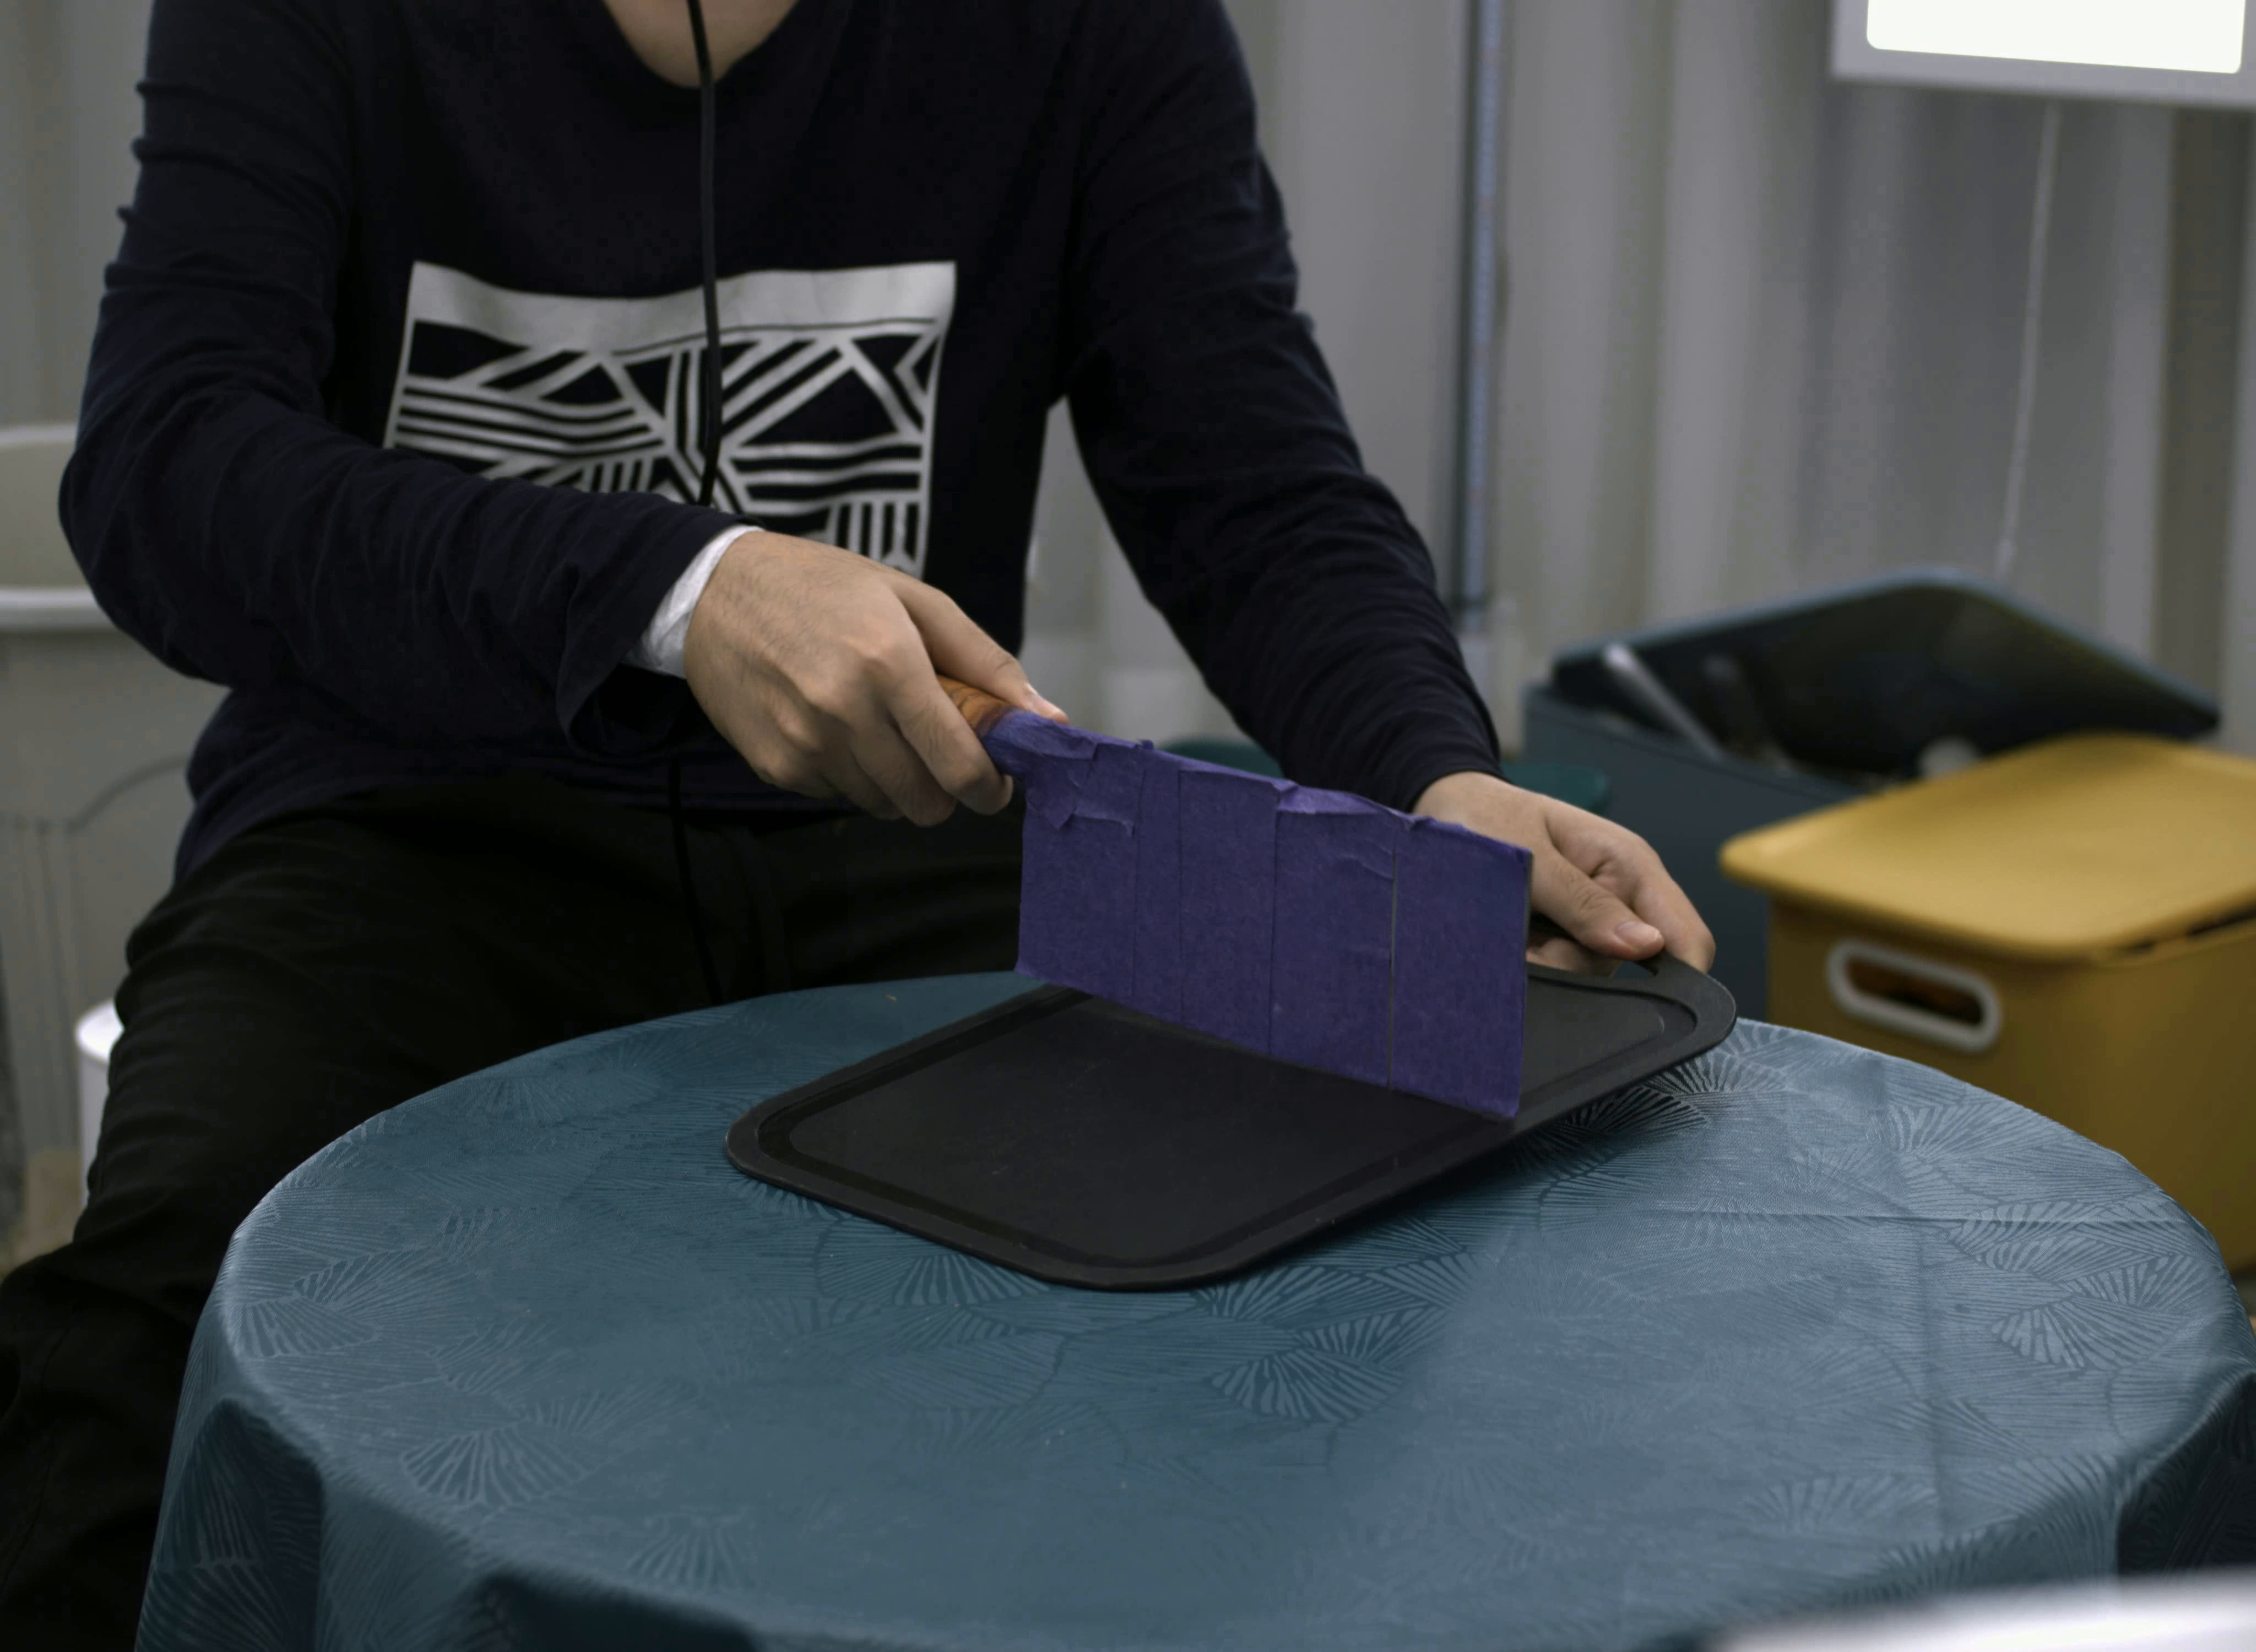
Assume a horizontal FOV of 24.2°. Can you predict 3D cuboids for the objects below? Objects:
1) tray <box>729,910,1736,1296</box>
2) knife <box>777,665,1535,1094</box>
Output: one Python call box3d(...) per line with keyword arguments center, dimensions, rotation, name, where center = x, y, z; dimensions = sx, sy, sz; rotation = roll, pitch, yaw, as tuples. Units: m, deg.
box3d(center=(0.042, 0.077, 1.696), dimensions=(0.208, 0.010, 0.326), rotation=(16, 27, 42), name="tray")
box3d(center=(0.003, 0.018, 1.717), dimensions=(0.311, 0.104, 0.032), rotation=(15, 18, 39), name="knife")
